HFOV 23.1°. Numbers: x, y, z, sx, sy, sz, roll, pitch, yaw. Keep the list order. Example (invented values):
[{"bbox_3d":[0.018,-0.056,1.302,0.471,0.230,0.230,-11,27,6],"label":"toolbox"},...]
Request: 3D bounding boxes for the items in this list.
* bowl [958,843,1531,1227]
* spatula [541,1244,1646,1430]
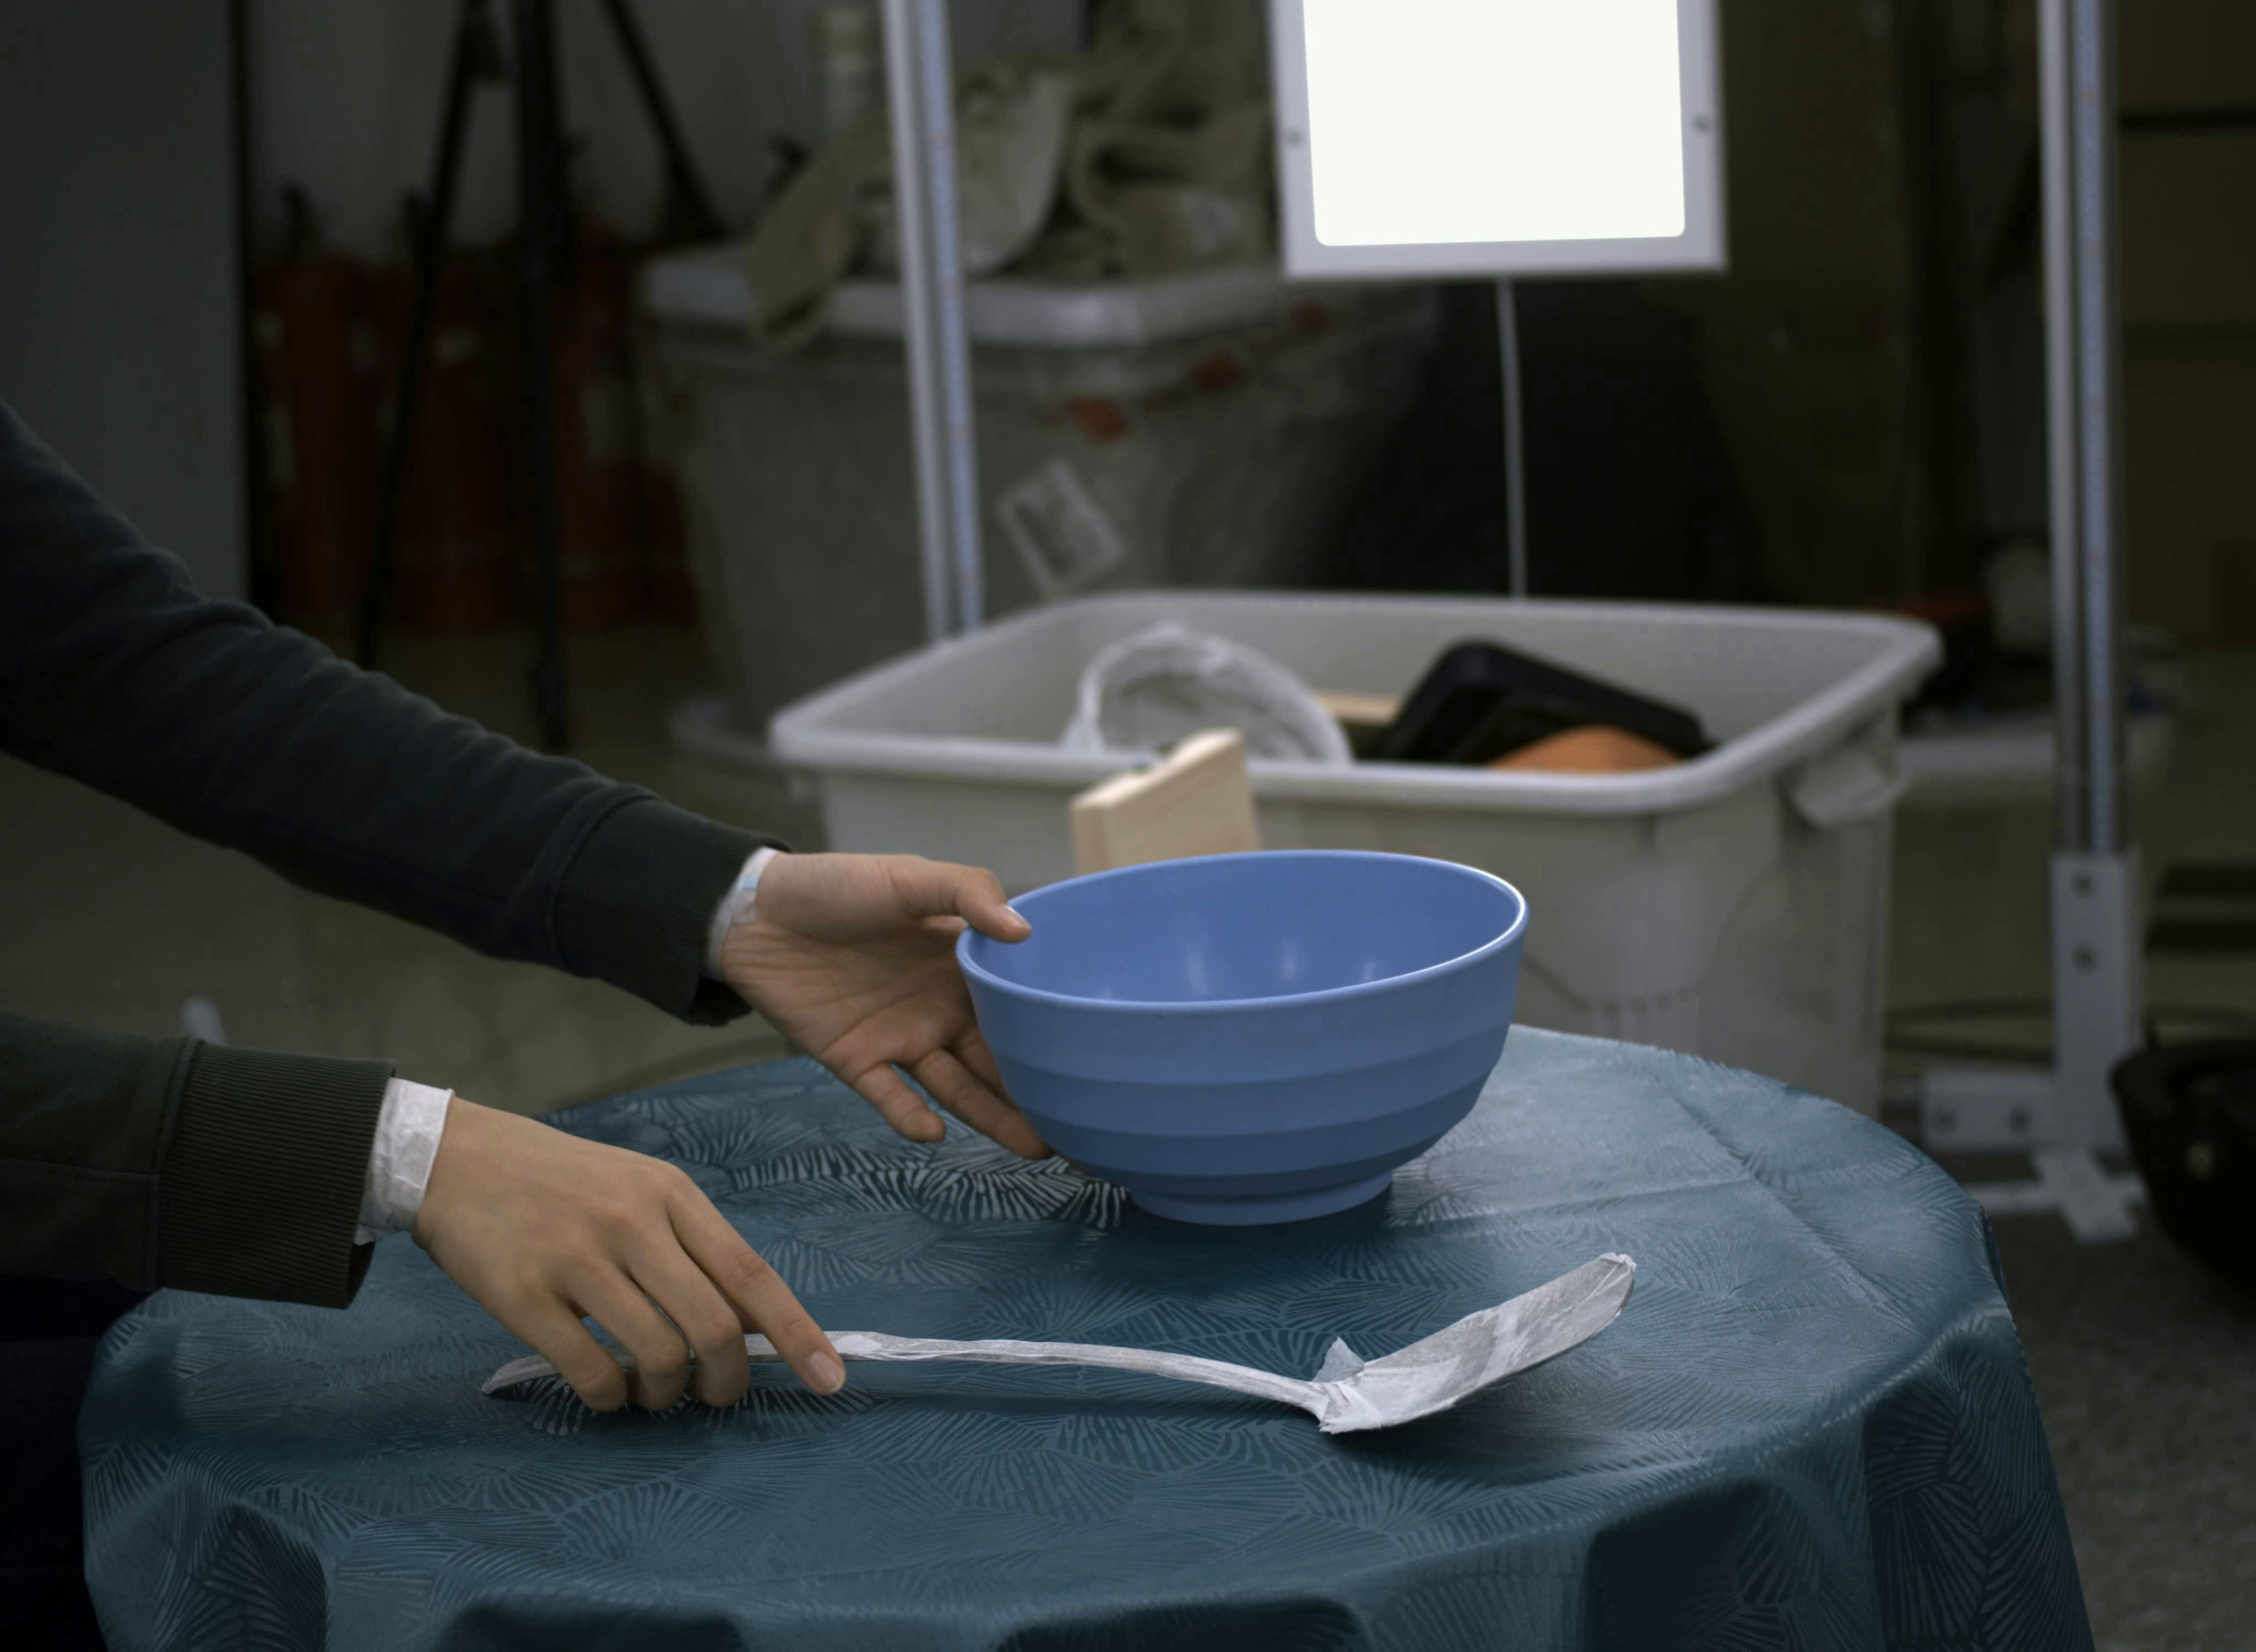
[{"bbox_3d":[0.043,0.077,1.882,0.196,0.096,0.196,-5,15,0],"label":"bowl"},{"bbox_3d":[-0.020,0.157,1.697,0.369,0.045,0.097,0,16,20],"label":"spatula"}]
